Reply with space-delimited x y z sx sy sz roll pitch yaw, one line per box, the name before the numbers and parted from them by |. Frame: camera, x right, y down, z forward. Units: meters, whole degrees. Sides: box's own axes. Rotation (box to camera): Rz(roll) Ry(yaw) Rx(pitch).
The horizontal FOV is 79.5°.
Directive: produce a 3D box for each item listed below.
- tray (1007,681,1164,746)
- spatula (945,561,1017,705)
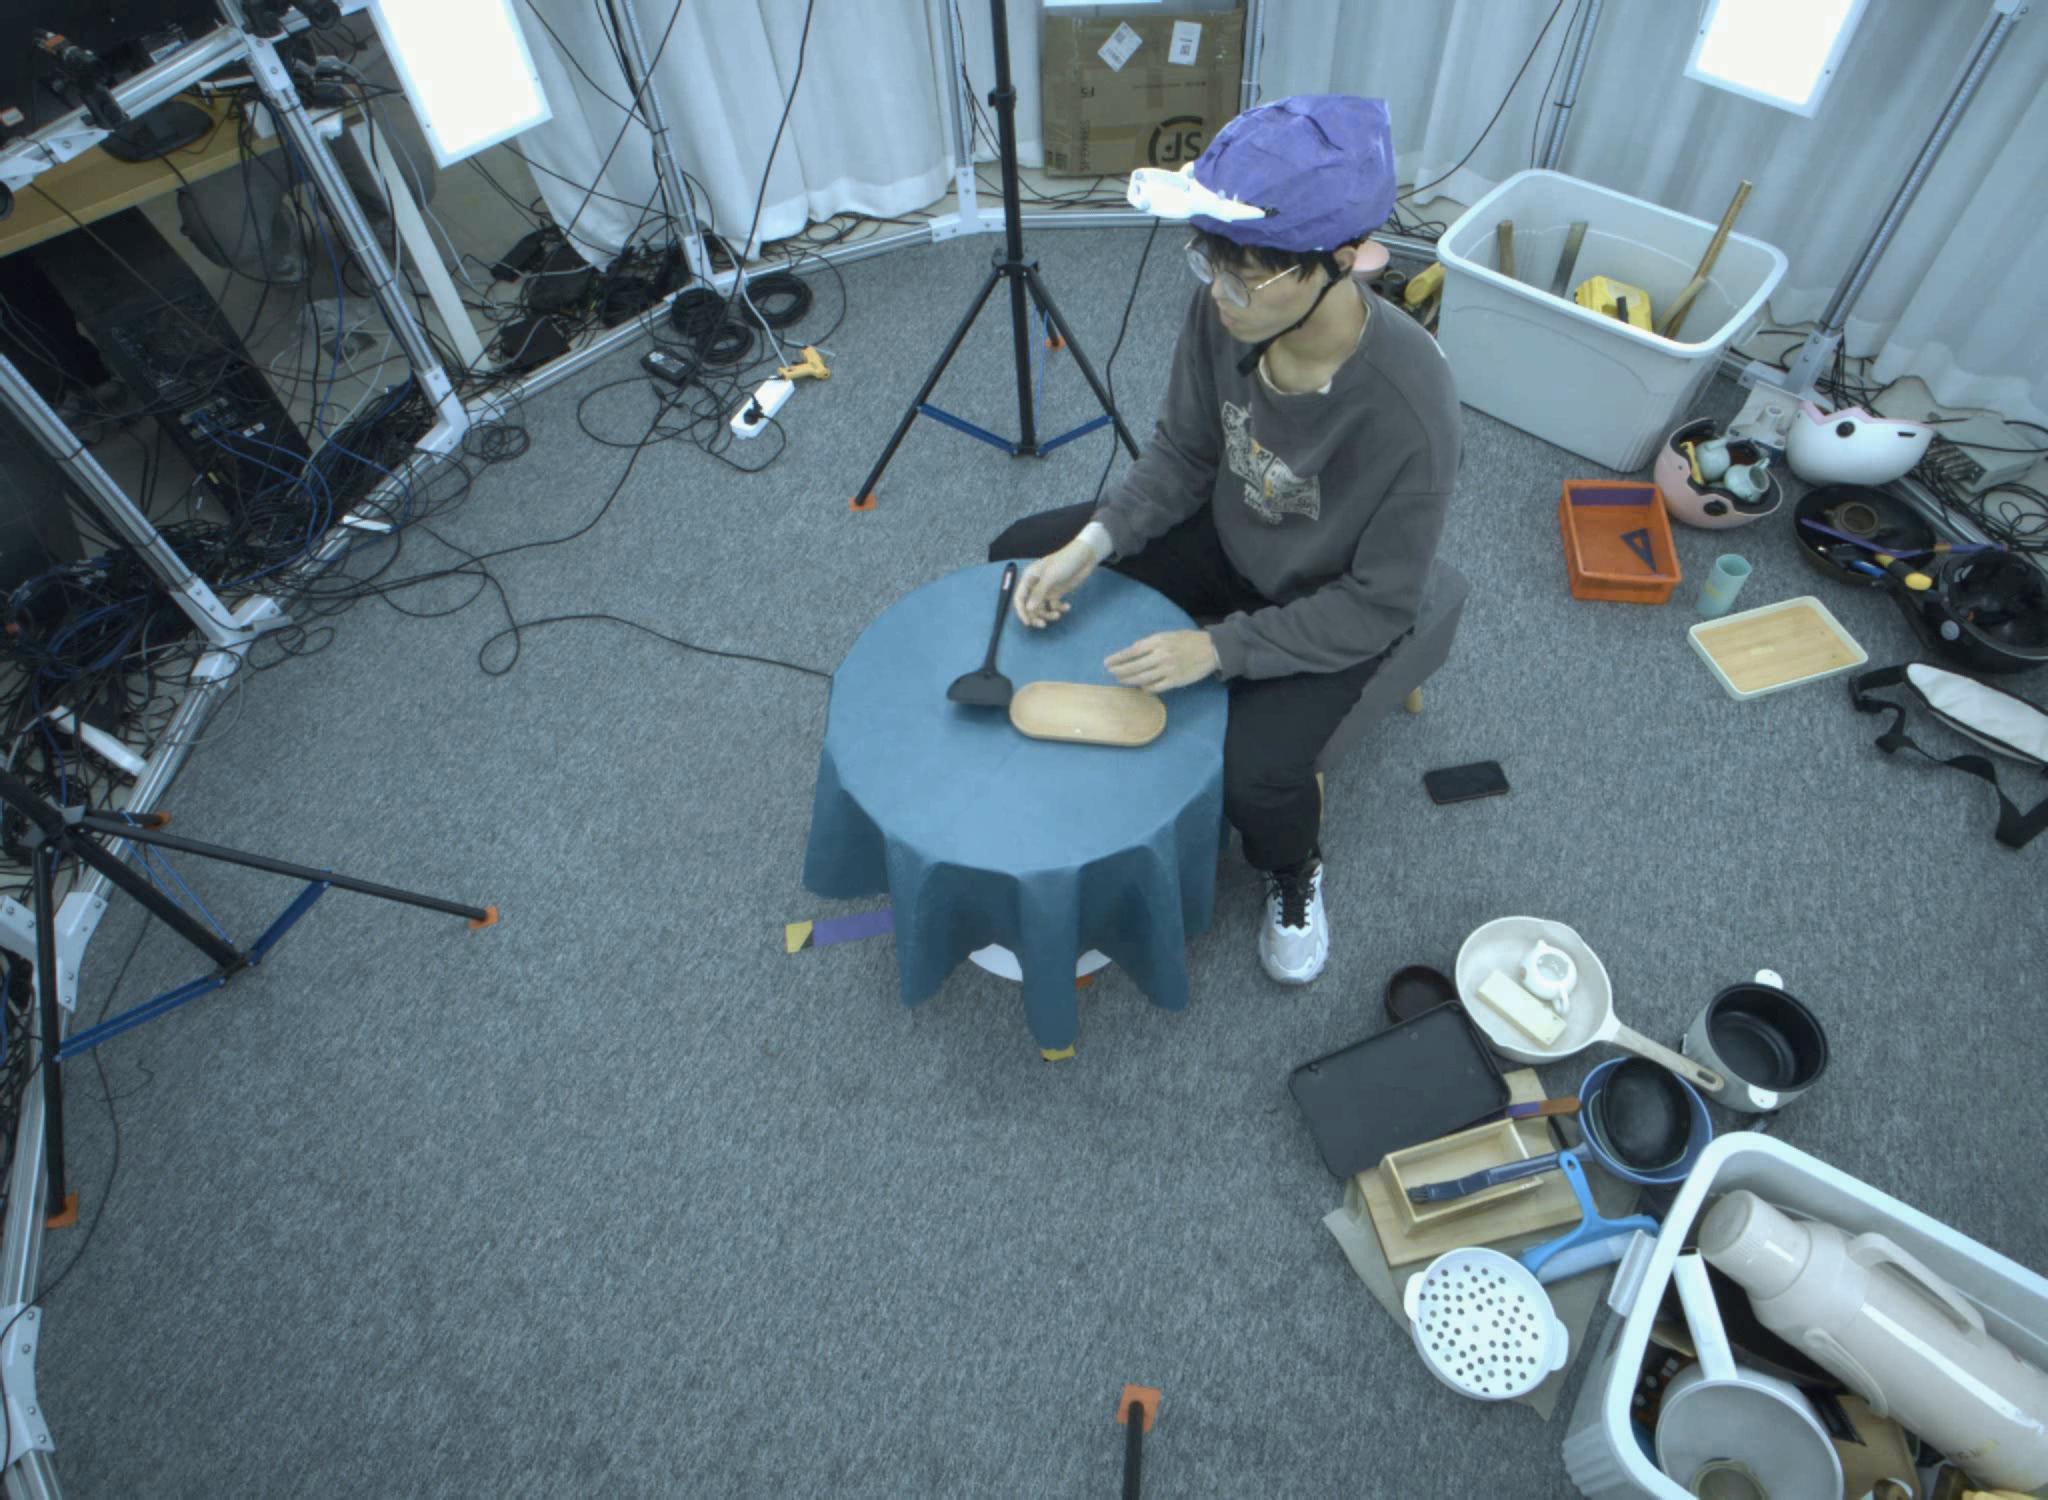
tray | 0.090 -0.053 1.810 0.230 0.020 0.101 5 54 7
spatula | -0.045 -0.186 1.898 0.099 0.041 0.324 7 55 5
